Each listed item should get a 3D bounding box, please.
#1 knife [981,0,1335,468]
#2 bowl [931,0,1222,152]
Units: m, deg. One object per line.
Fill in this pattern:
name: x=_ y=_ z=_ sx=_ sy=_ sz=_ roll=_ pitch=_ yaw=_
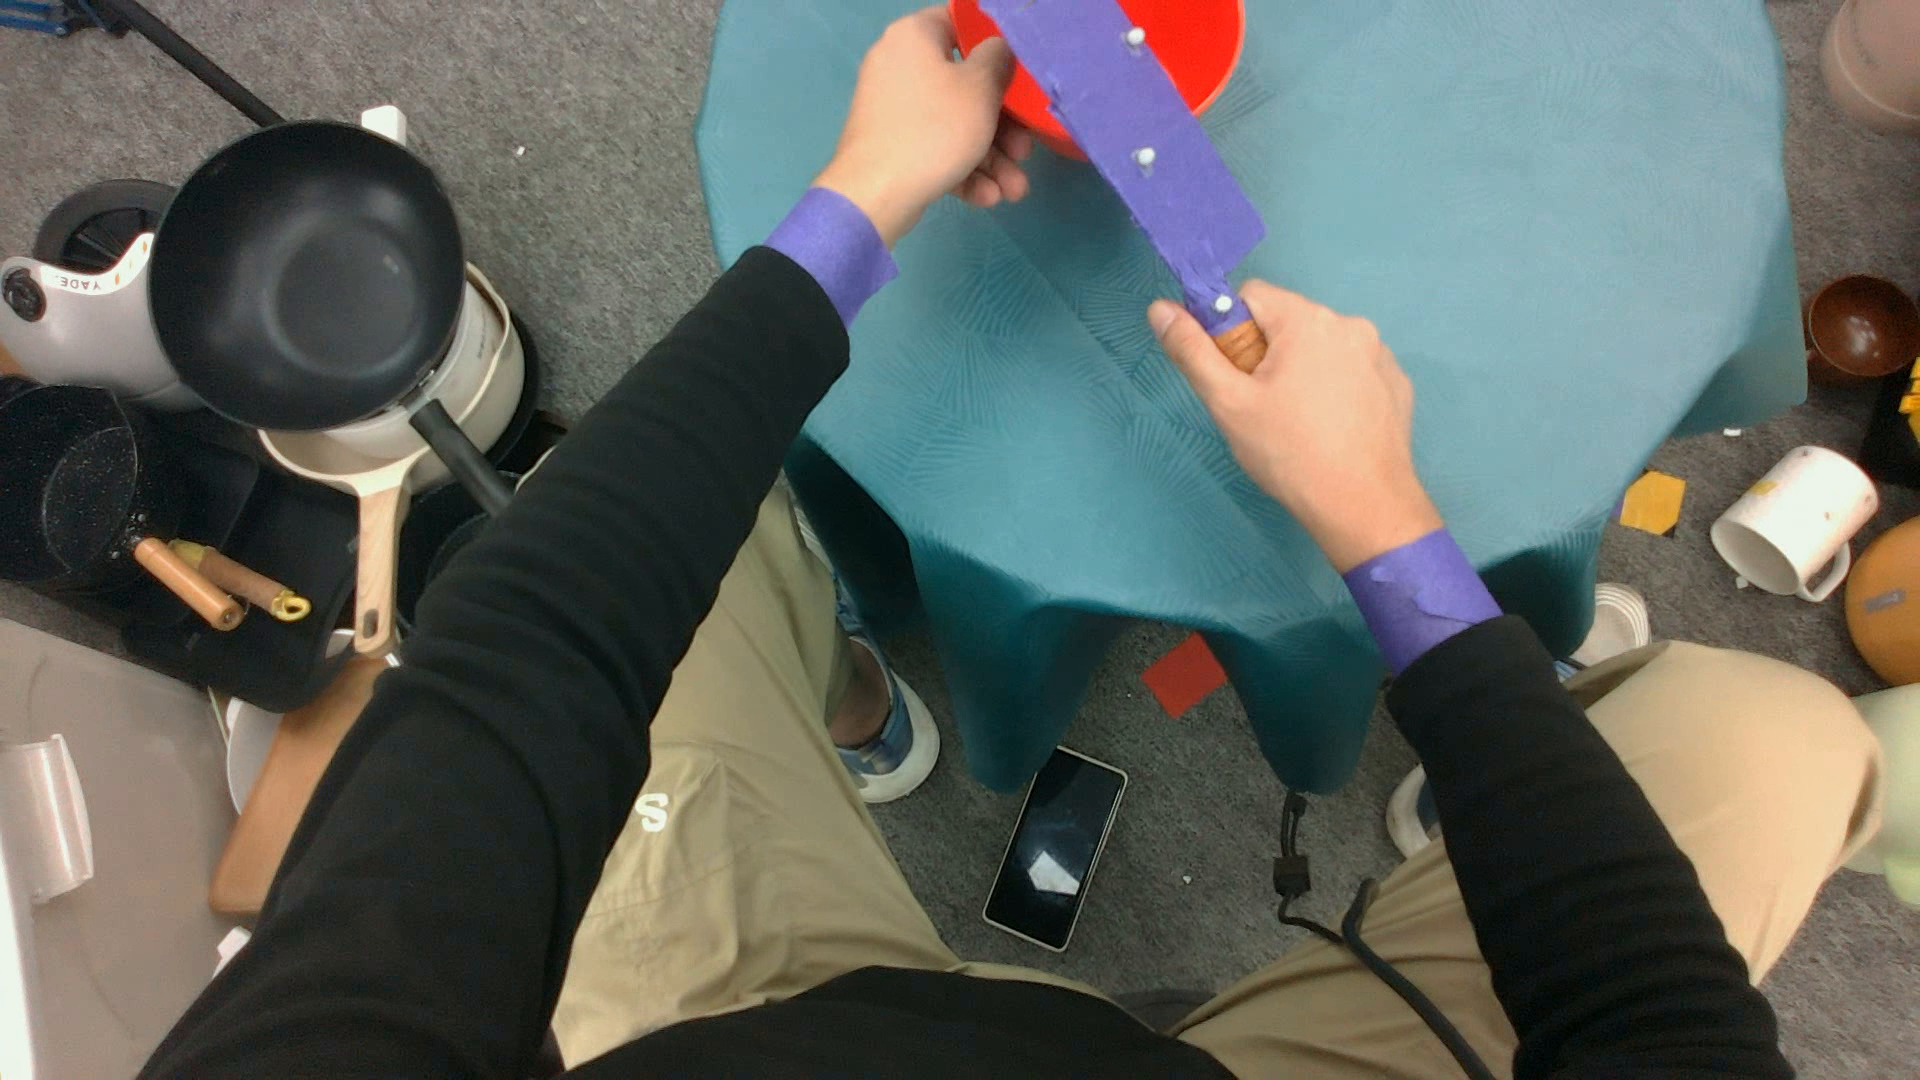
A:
knife: x=0.095 y=-0.182 z=0.655 sx=0.315 sy=0.032 sz=0.104 roll=54 pitch=48 yaw=-13
bowl: x=0.063 y=-0.266 z=0.736 sx=0.148 sy=0.104 sz=0.148 roll=-1 pitch=75 yaw=4
